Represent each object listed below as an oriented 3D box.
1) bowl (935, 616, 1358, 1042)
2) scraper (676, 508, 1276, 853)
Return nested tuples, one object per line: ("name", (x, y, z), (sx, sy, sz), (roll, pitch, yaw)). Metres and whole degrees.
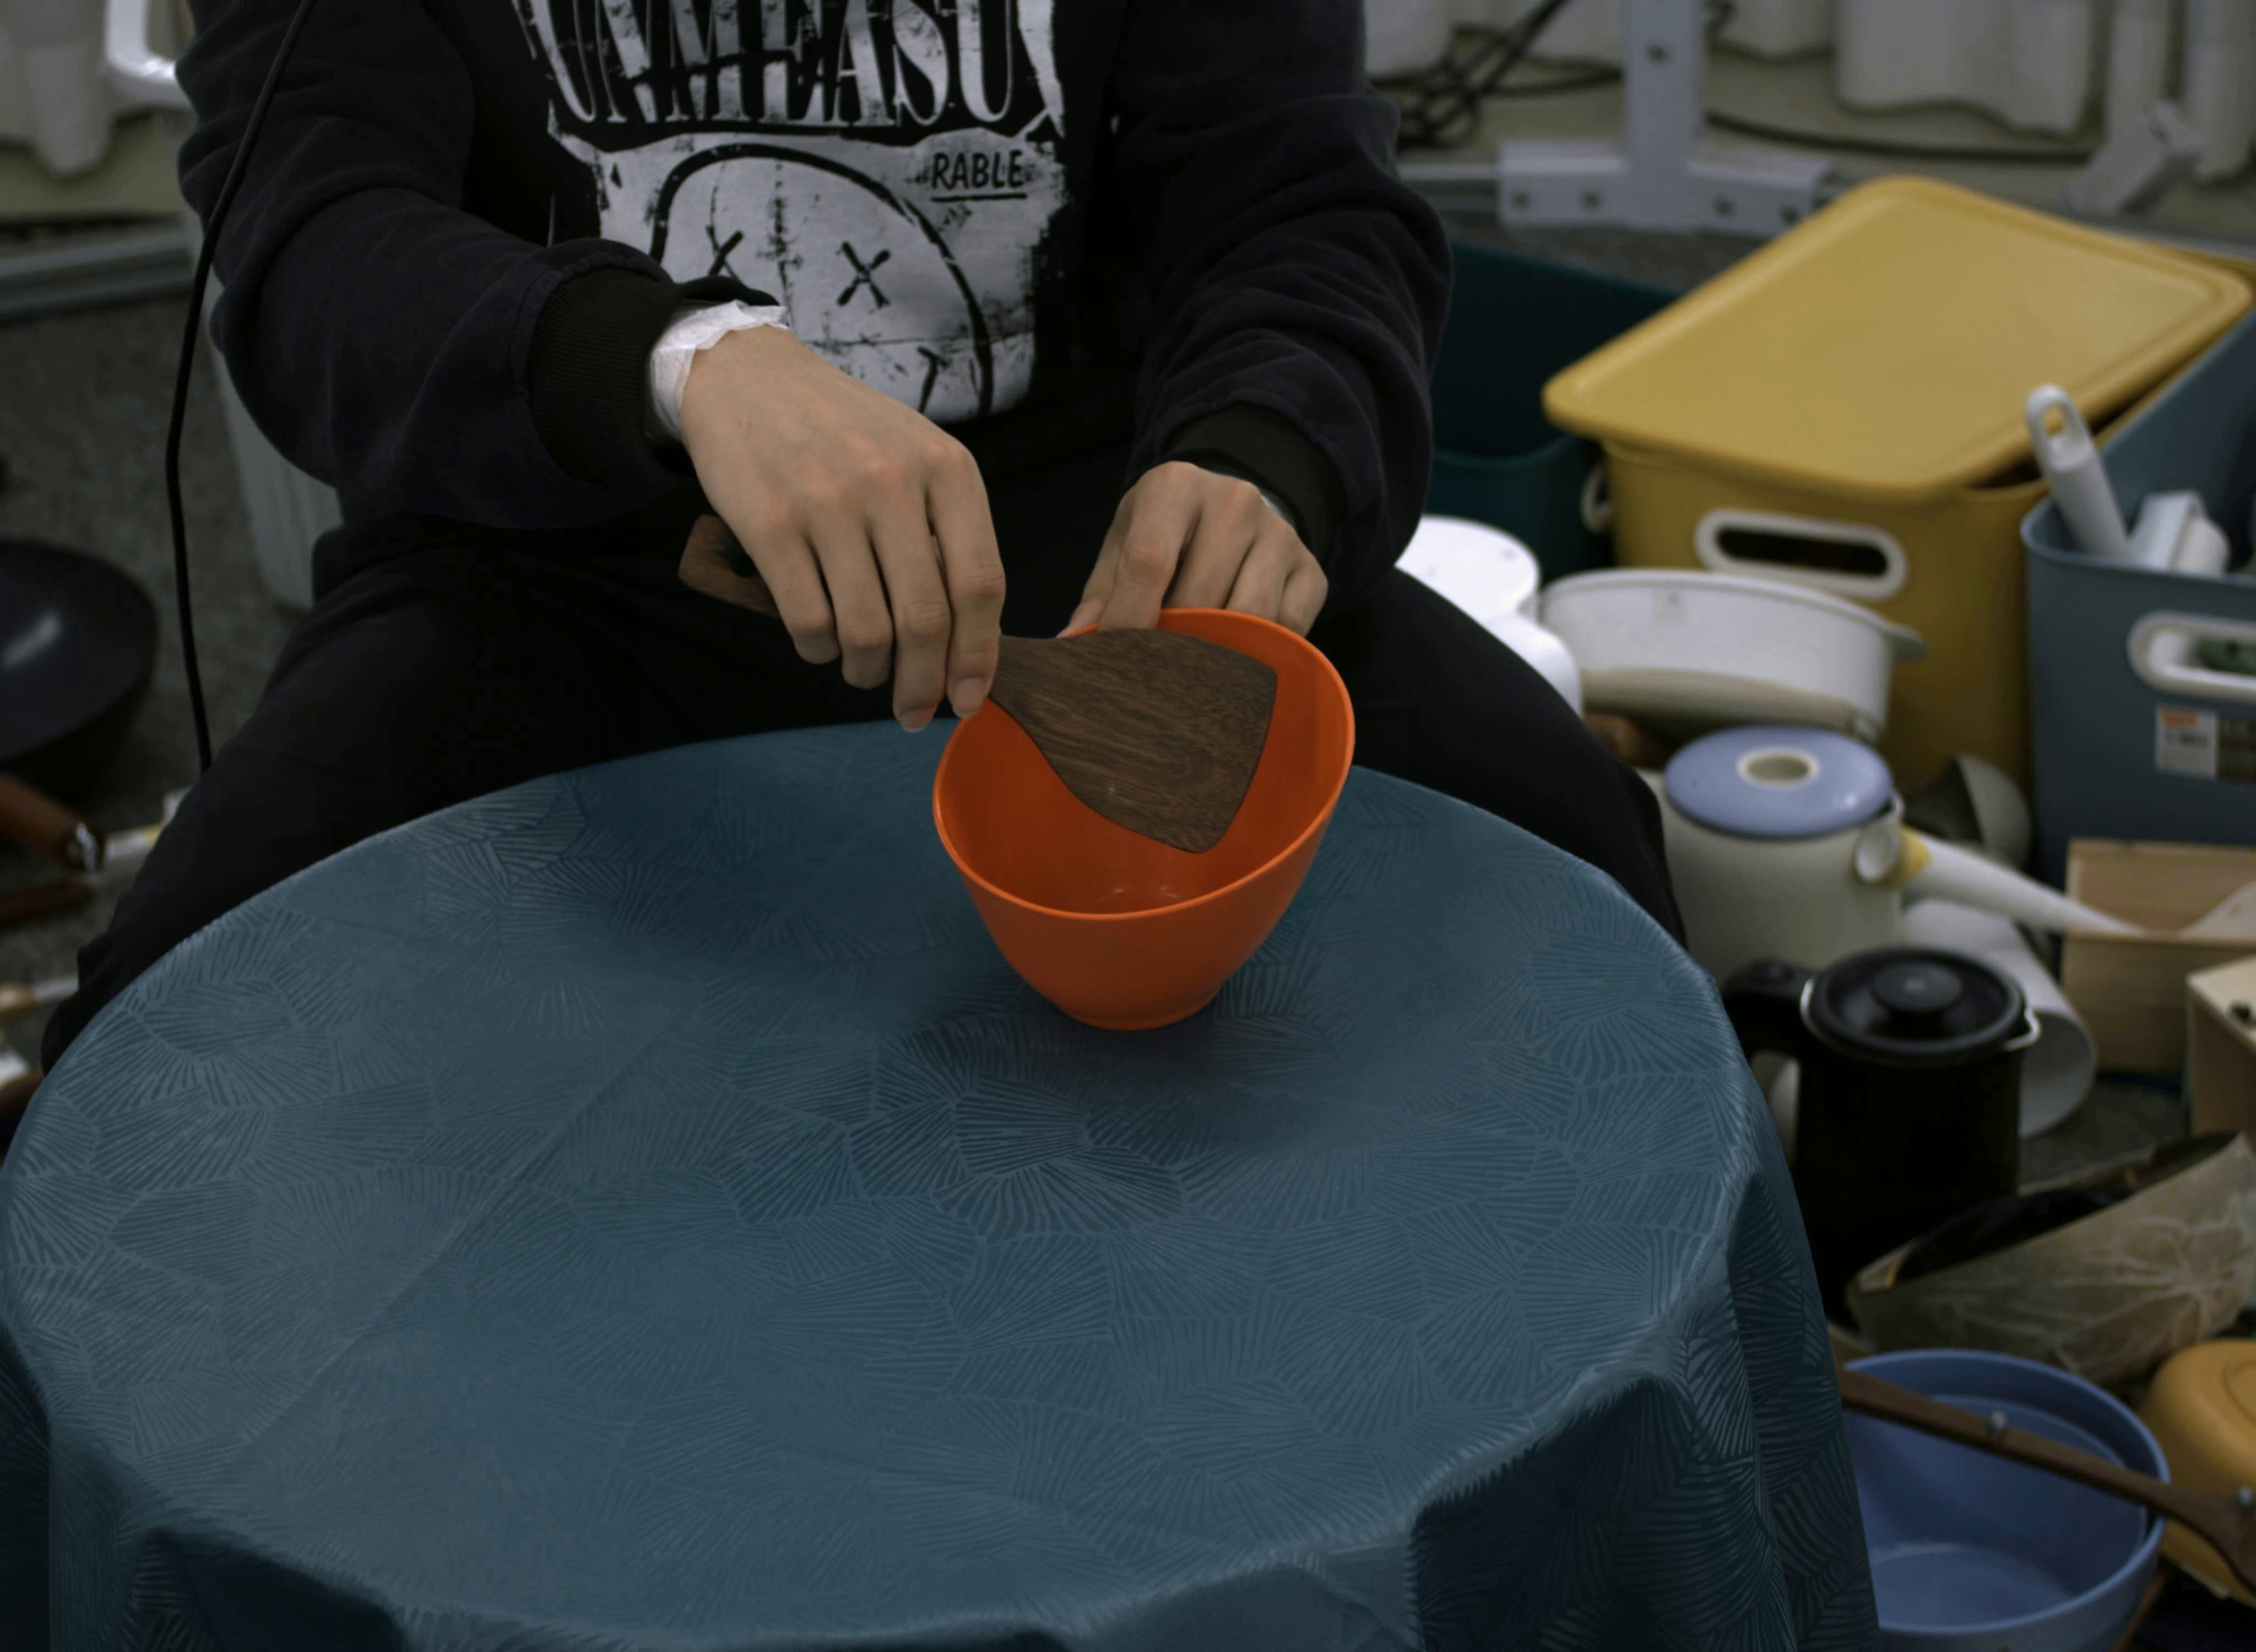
("bowl", (0.009, 0.011, 1.954), (0.147, 0.103, 0.151), (-2, 39, 2))
("scraper", (-0.054, -0.059, 1.922), (0.210, 0.077, 0.011), (22, -15, -2))
